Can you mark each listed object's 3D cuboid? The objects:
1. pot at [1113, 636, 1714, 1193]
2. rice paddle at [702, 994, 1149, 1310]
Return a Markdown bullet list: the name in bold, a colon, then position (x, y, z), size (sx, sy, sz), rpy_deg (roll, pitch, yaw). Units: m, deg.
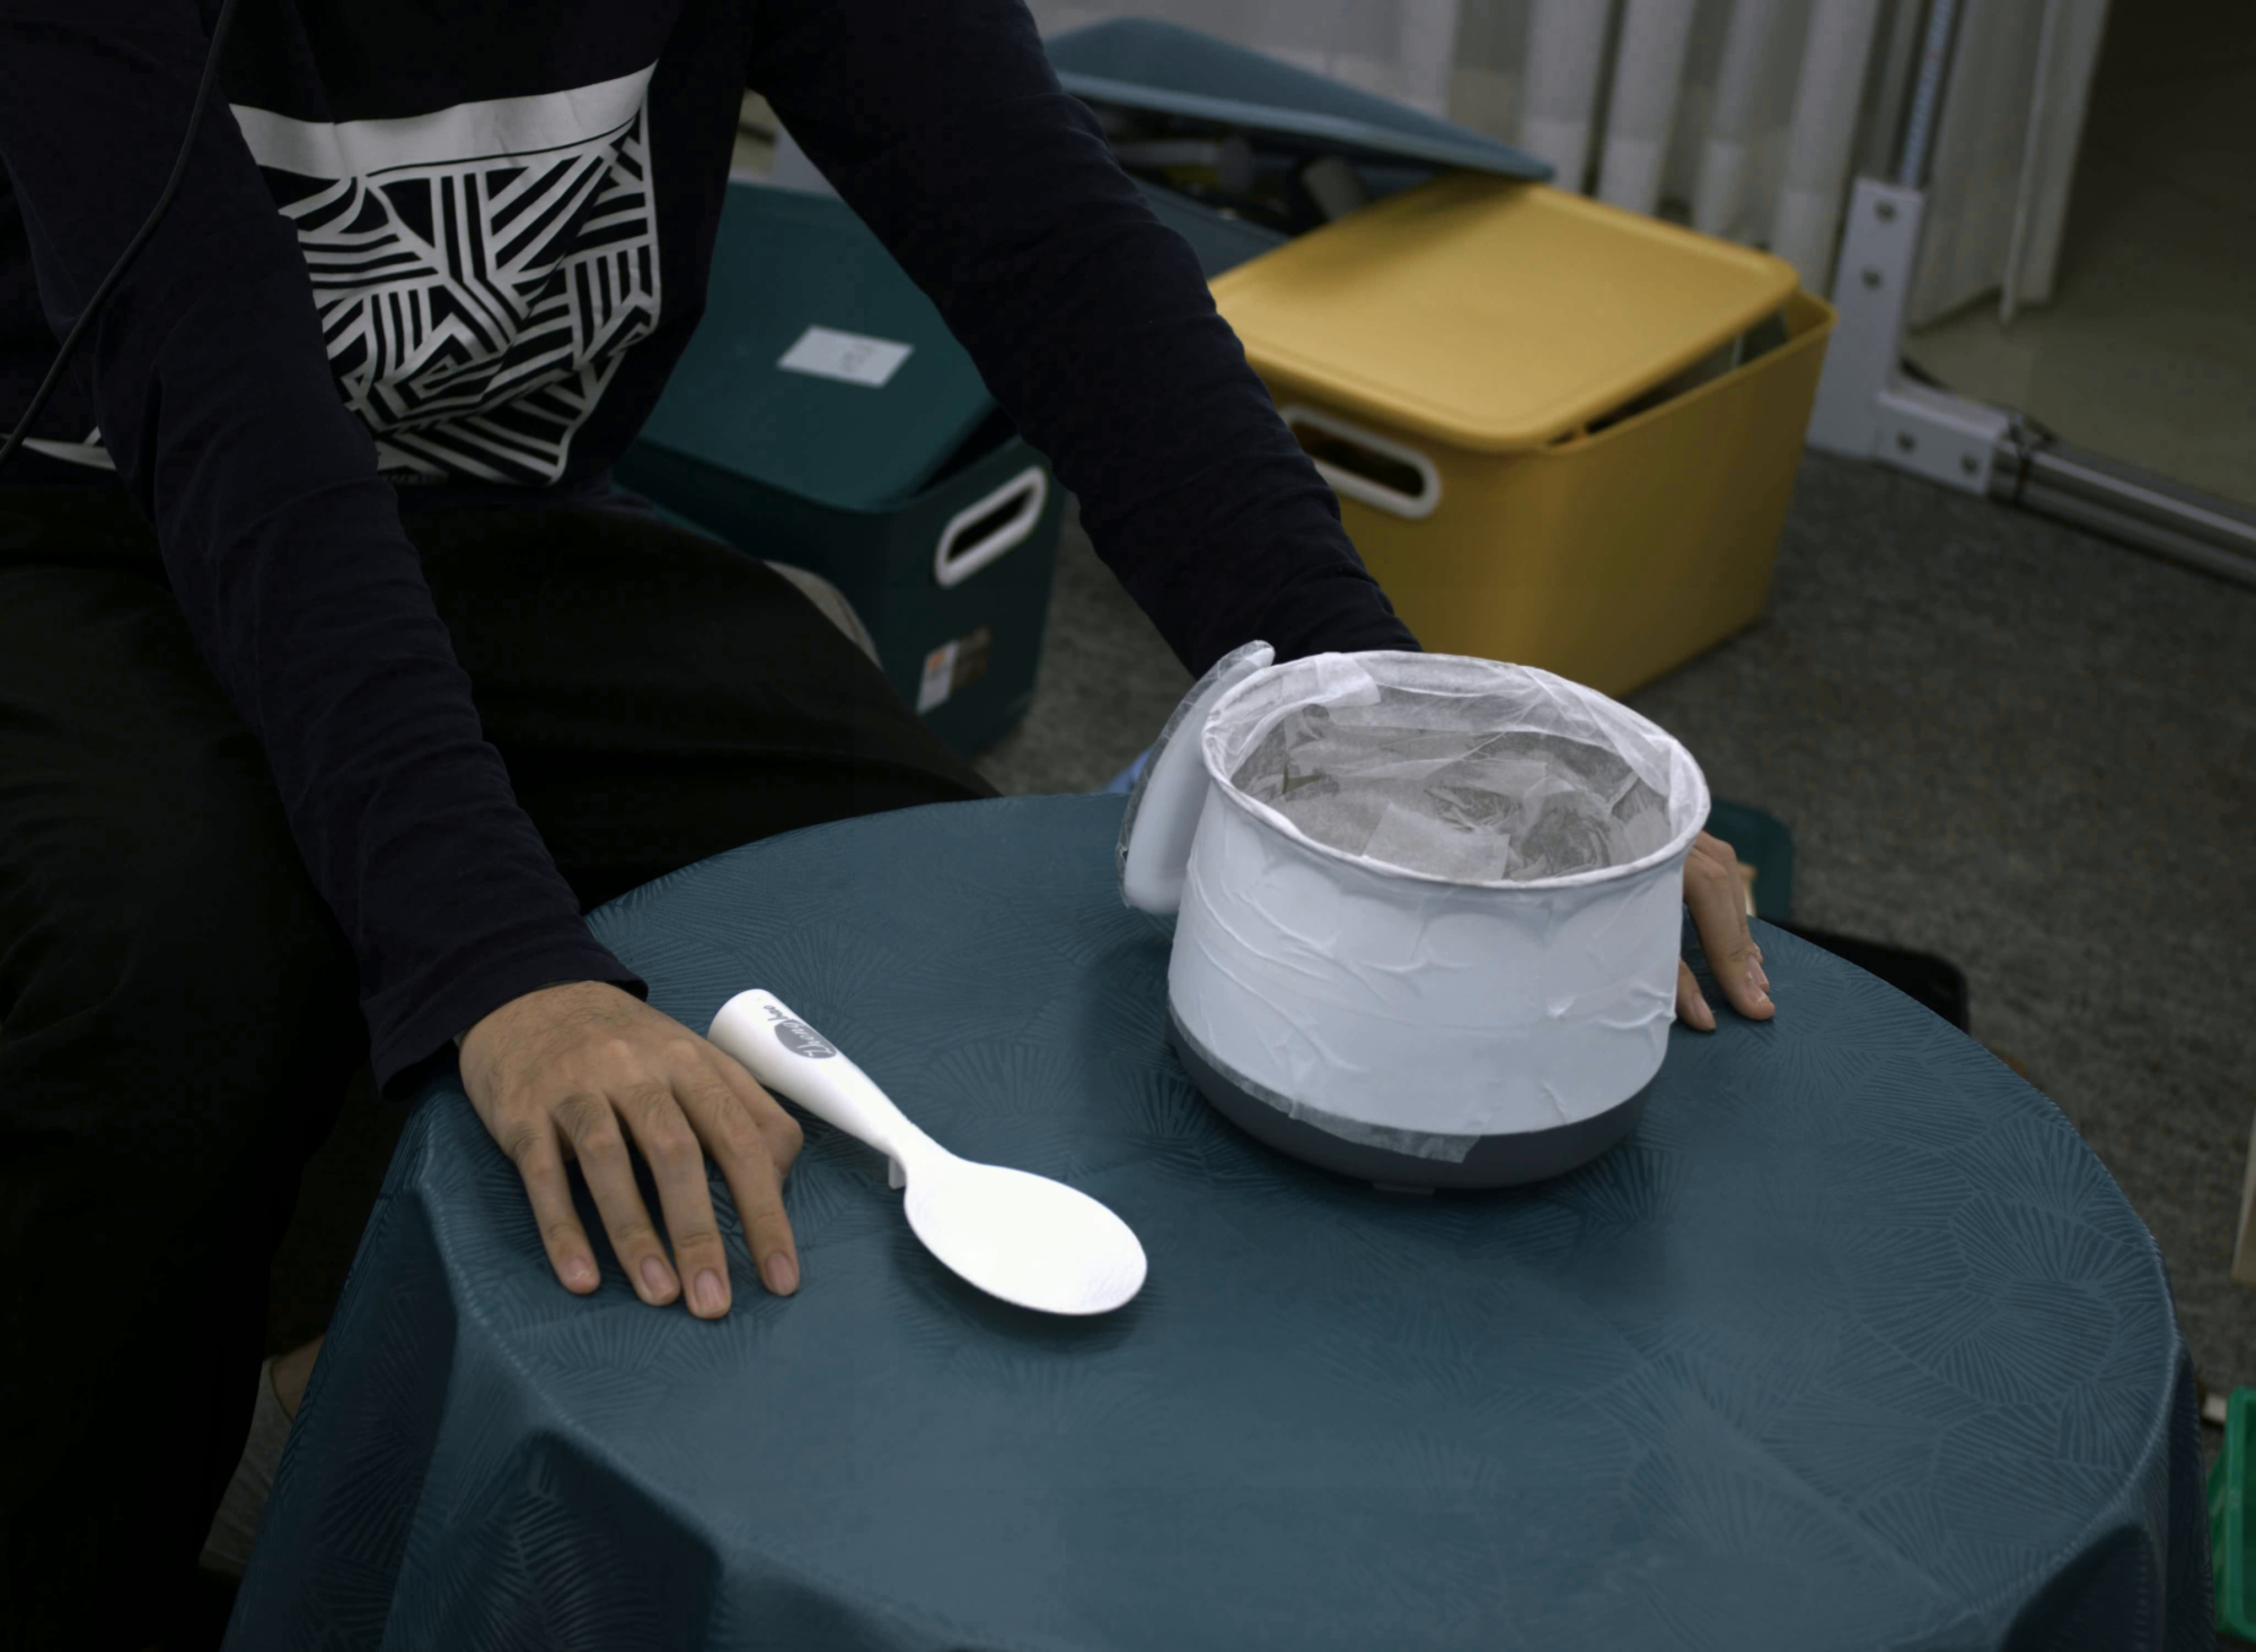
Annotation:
- **pot**: position (0.086, 0.023, 1.872), size (0.178, 0.136, 0.235), rpy_deg (-16, 35, -42)
- **rice paddle**: position (-0.070, 0.111, 1.784), size (0.068, 0.029, 0.207), rpy_deg (-18, 34, -37)
